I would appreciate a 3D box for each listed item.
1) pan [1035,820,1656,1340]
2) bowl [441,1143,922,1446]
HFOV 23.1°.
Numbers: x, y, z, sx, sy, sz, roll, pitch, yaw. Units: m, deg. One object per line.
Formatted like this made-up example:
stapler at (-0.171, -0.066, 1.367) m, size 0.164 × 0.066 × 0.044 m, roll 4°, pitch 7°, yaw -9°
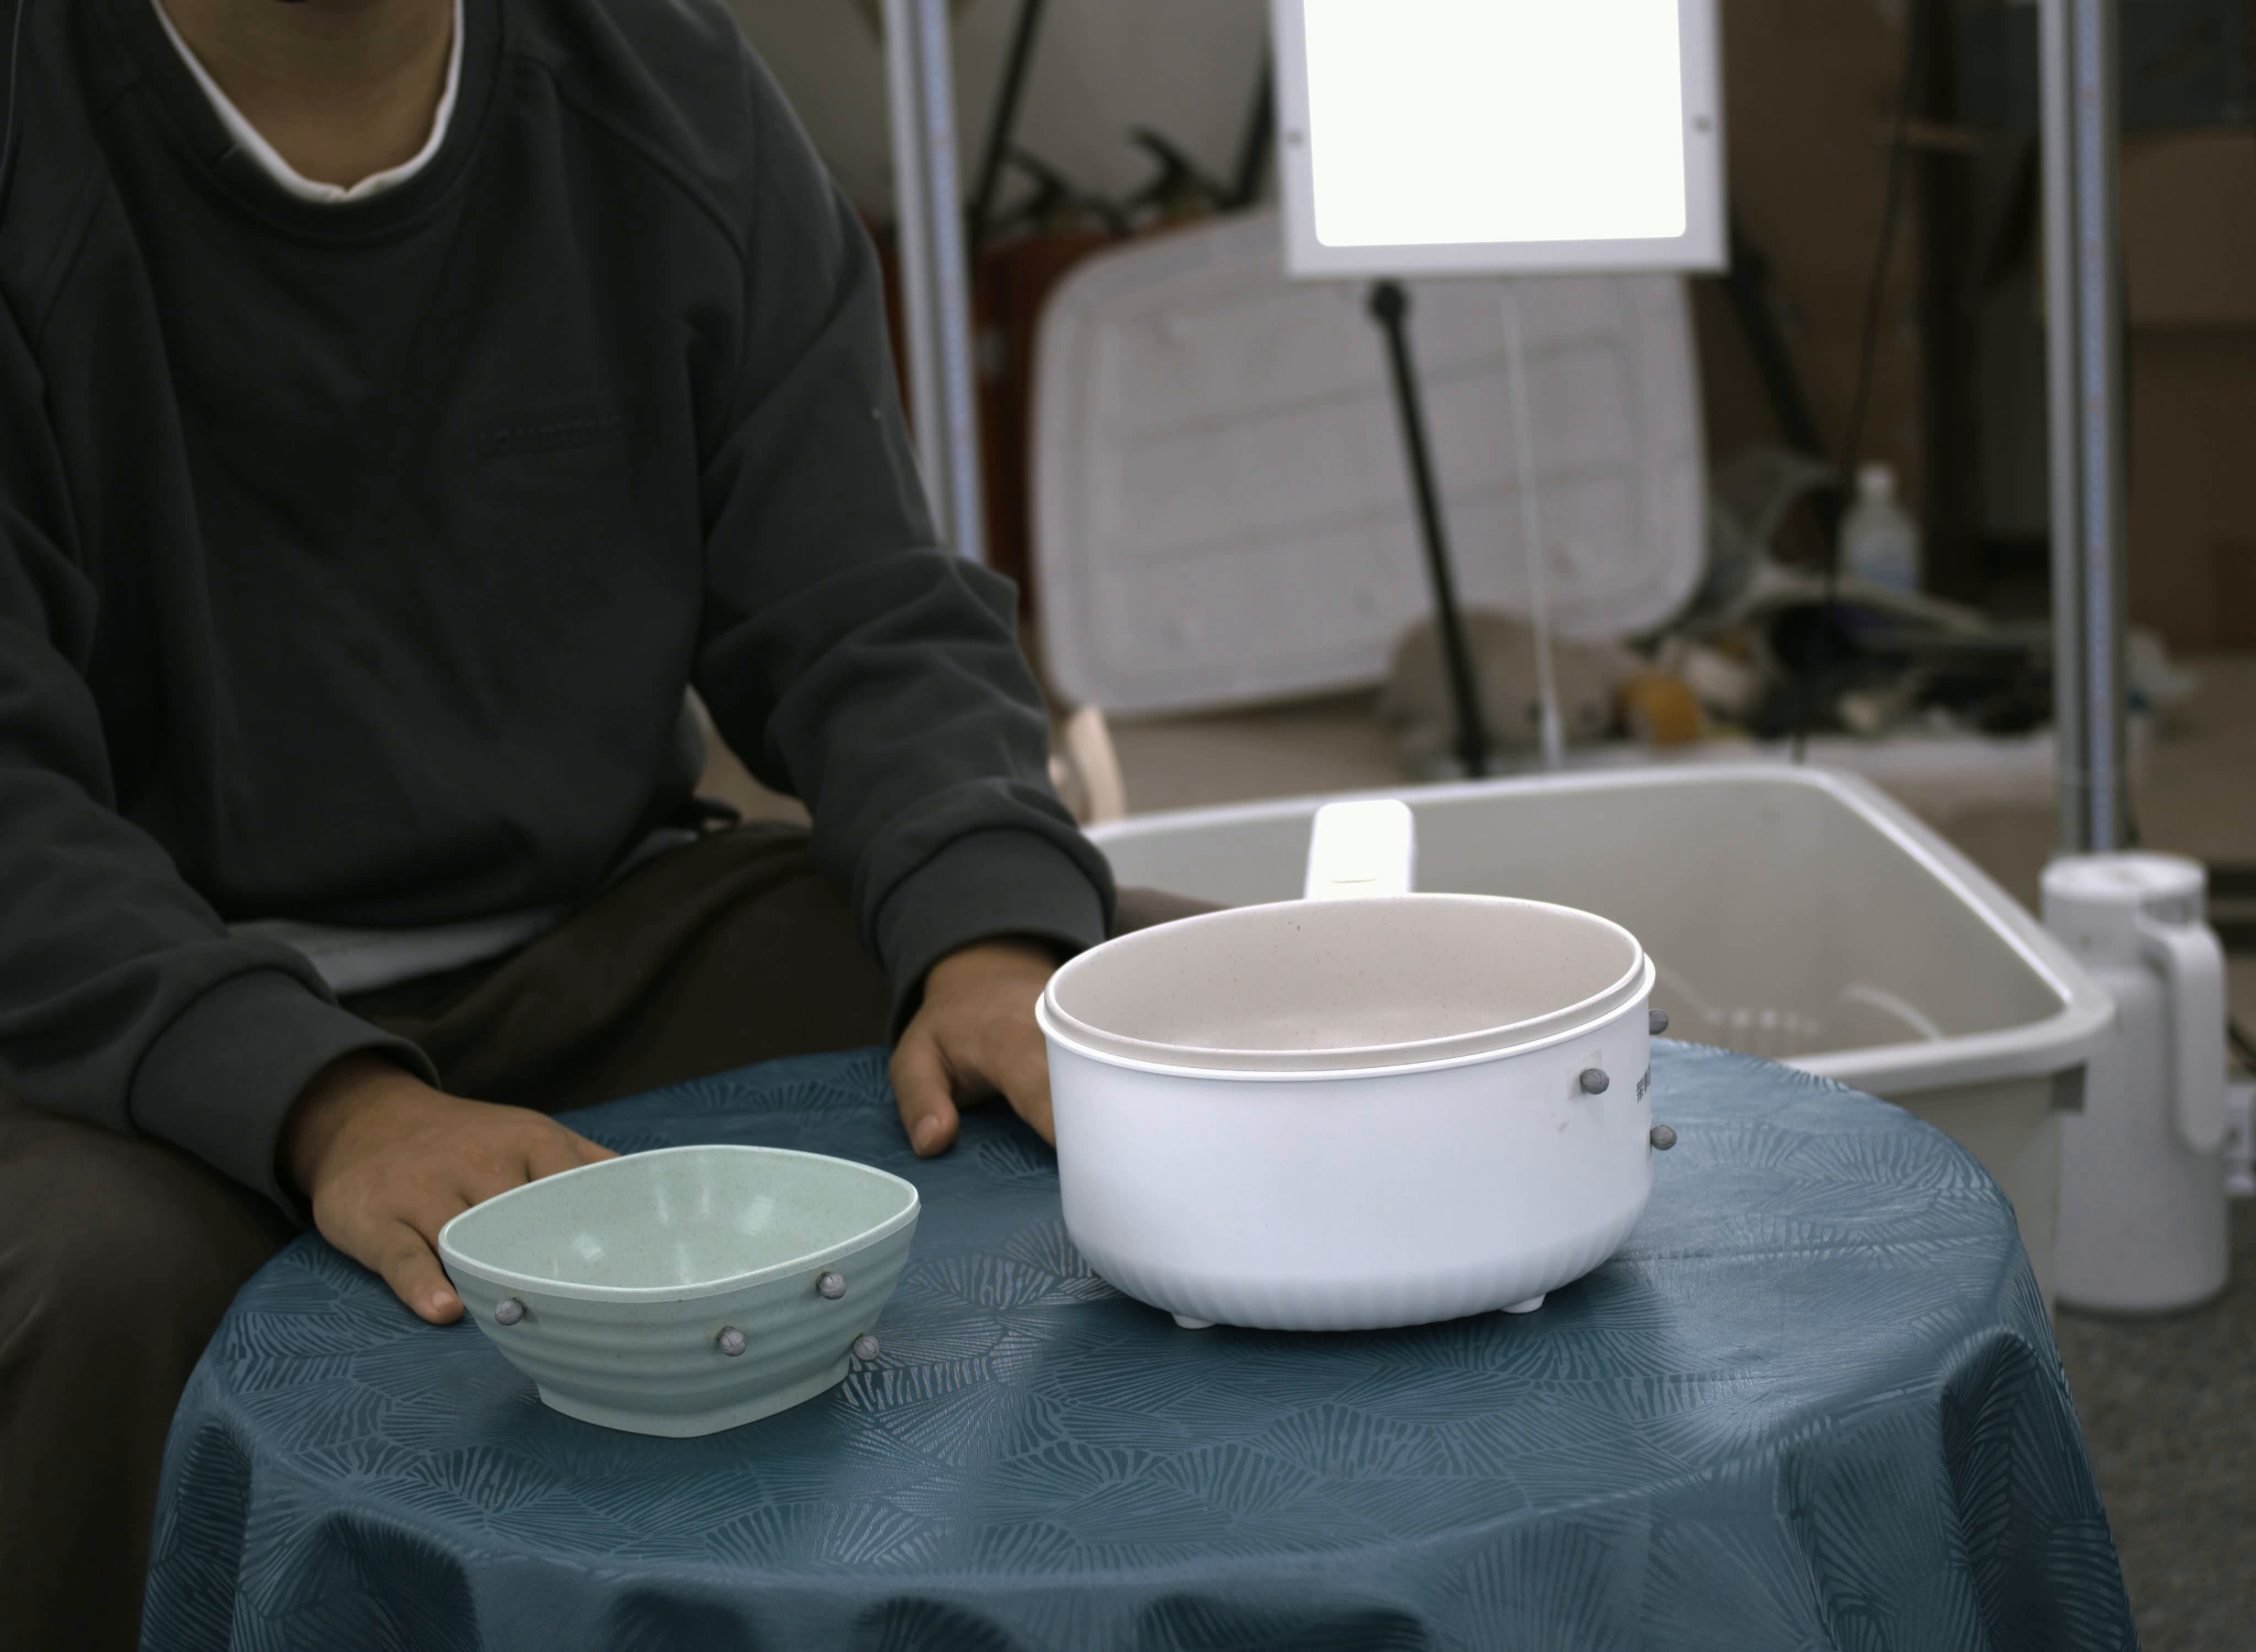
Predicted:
pan at (0.079, 0.082, 1.862) m, size 0.202 × 0.102 × 0.352 m, roll -5°, pitch 12°, yaw 5°
bowl at (-0.138, 0.150, 1.734) m, size 0.151 × 0.059 × 0.151 m, roll -4°, pitch 15°, yaw 0°
